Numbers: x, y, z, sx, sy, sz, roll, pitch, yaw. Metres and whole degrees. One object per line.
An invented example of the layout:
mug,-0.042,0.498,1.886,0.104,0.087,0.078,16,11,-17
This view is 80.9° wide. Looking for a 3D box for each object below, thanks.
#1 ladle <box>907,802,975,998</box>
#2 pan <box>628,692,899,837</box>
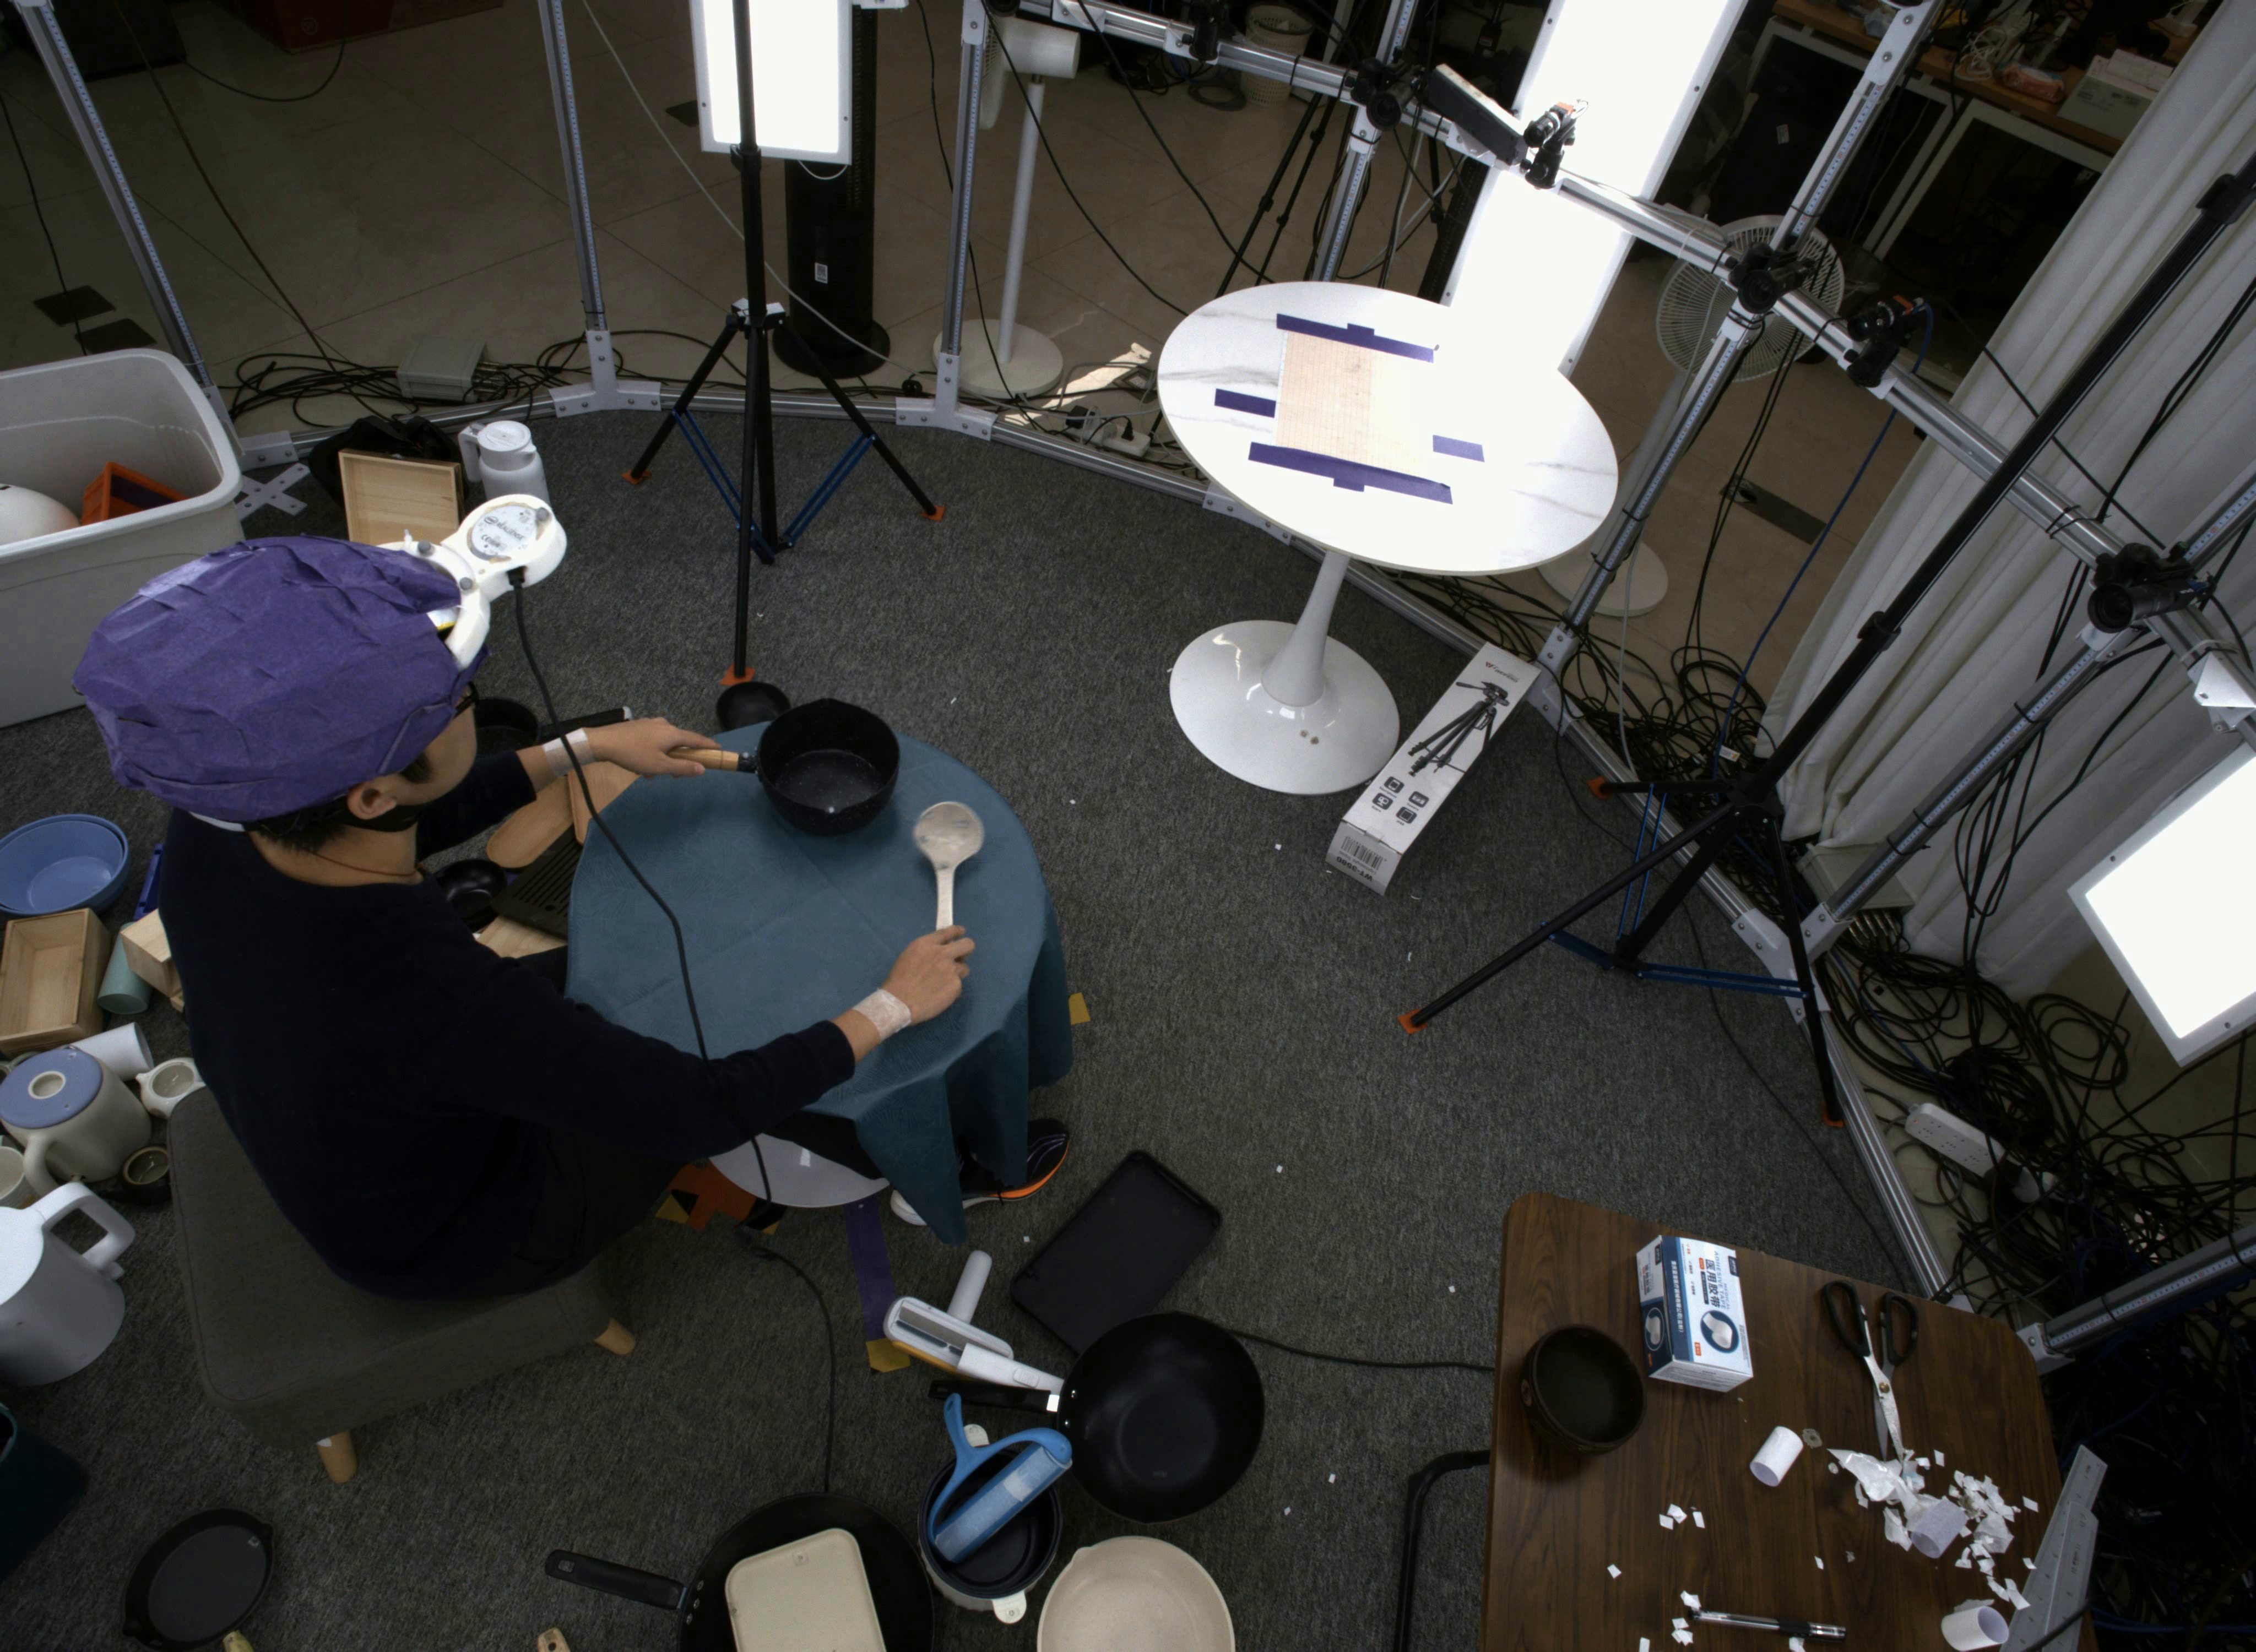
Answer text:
ladle,-0.234,0.085,1.631,0.090,0.071,0.268,7,44,-16
pan,-0.473,-0.076,1.687,0.344,0.110,0.203,-2,55,-18
